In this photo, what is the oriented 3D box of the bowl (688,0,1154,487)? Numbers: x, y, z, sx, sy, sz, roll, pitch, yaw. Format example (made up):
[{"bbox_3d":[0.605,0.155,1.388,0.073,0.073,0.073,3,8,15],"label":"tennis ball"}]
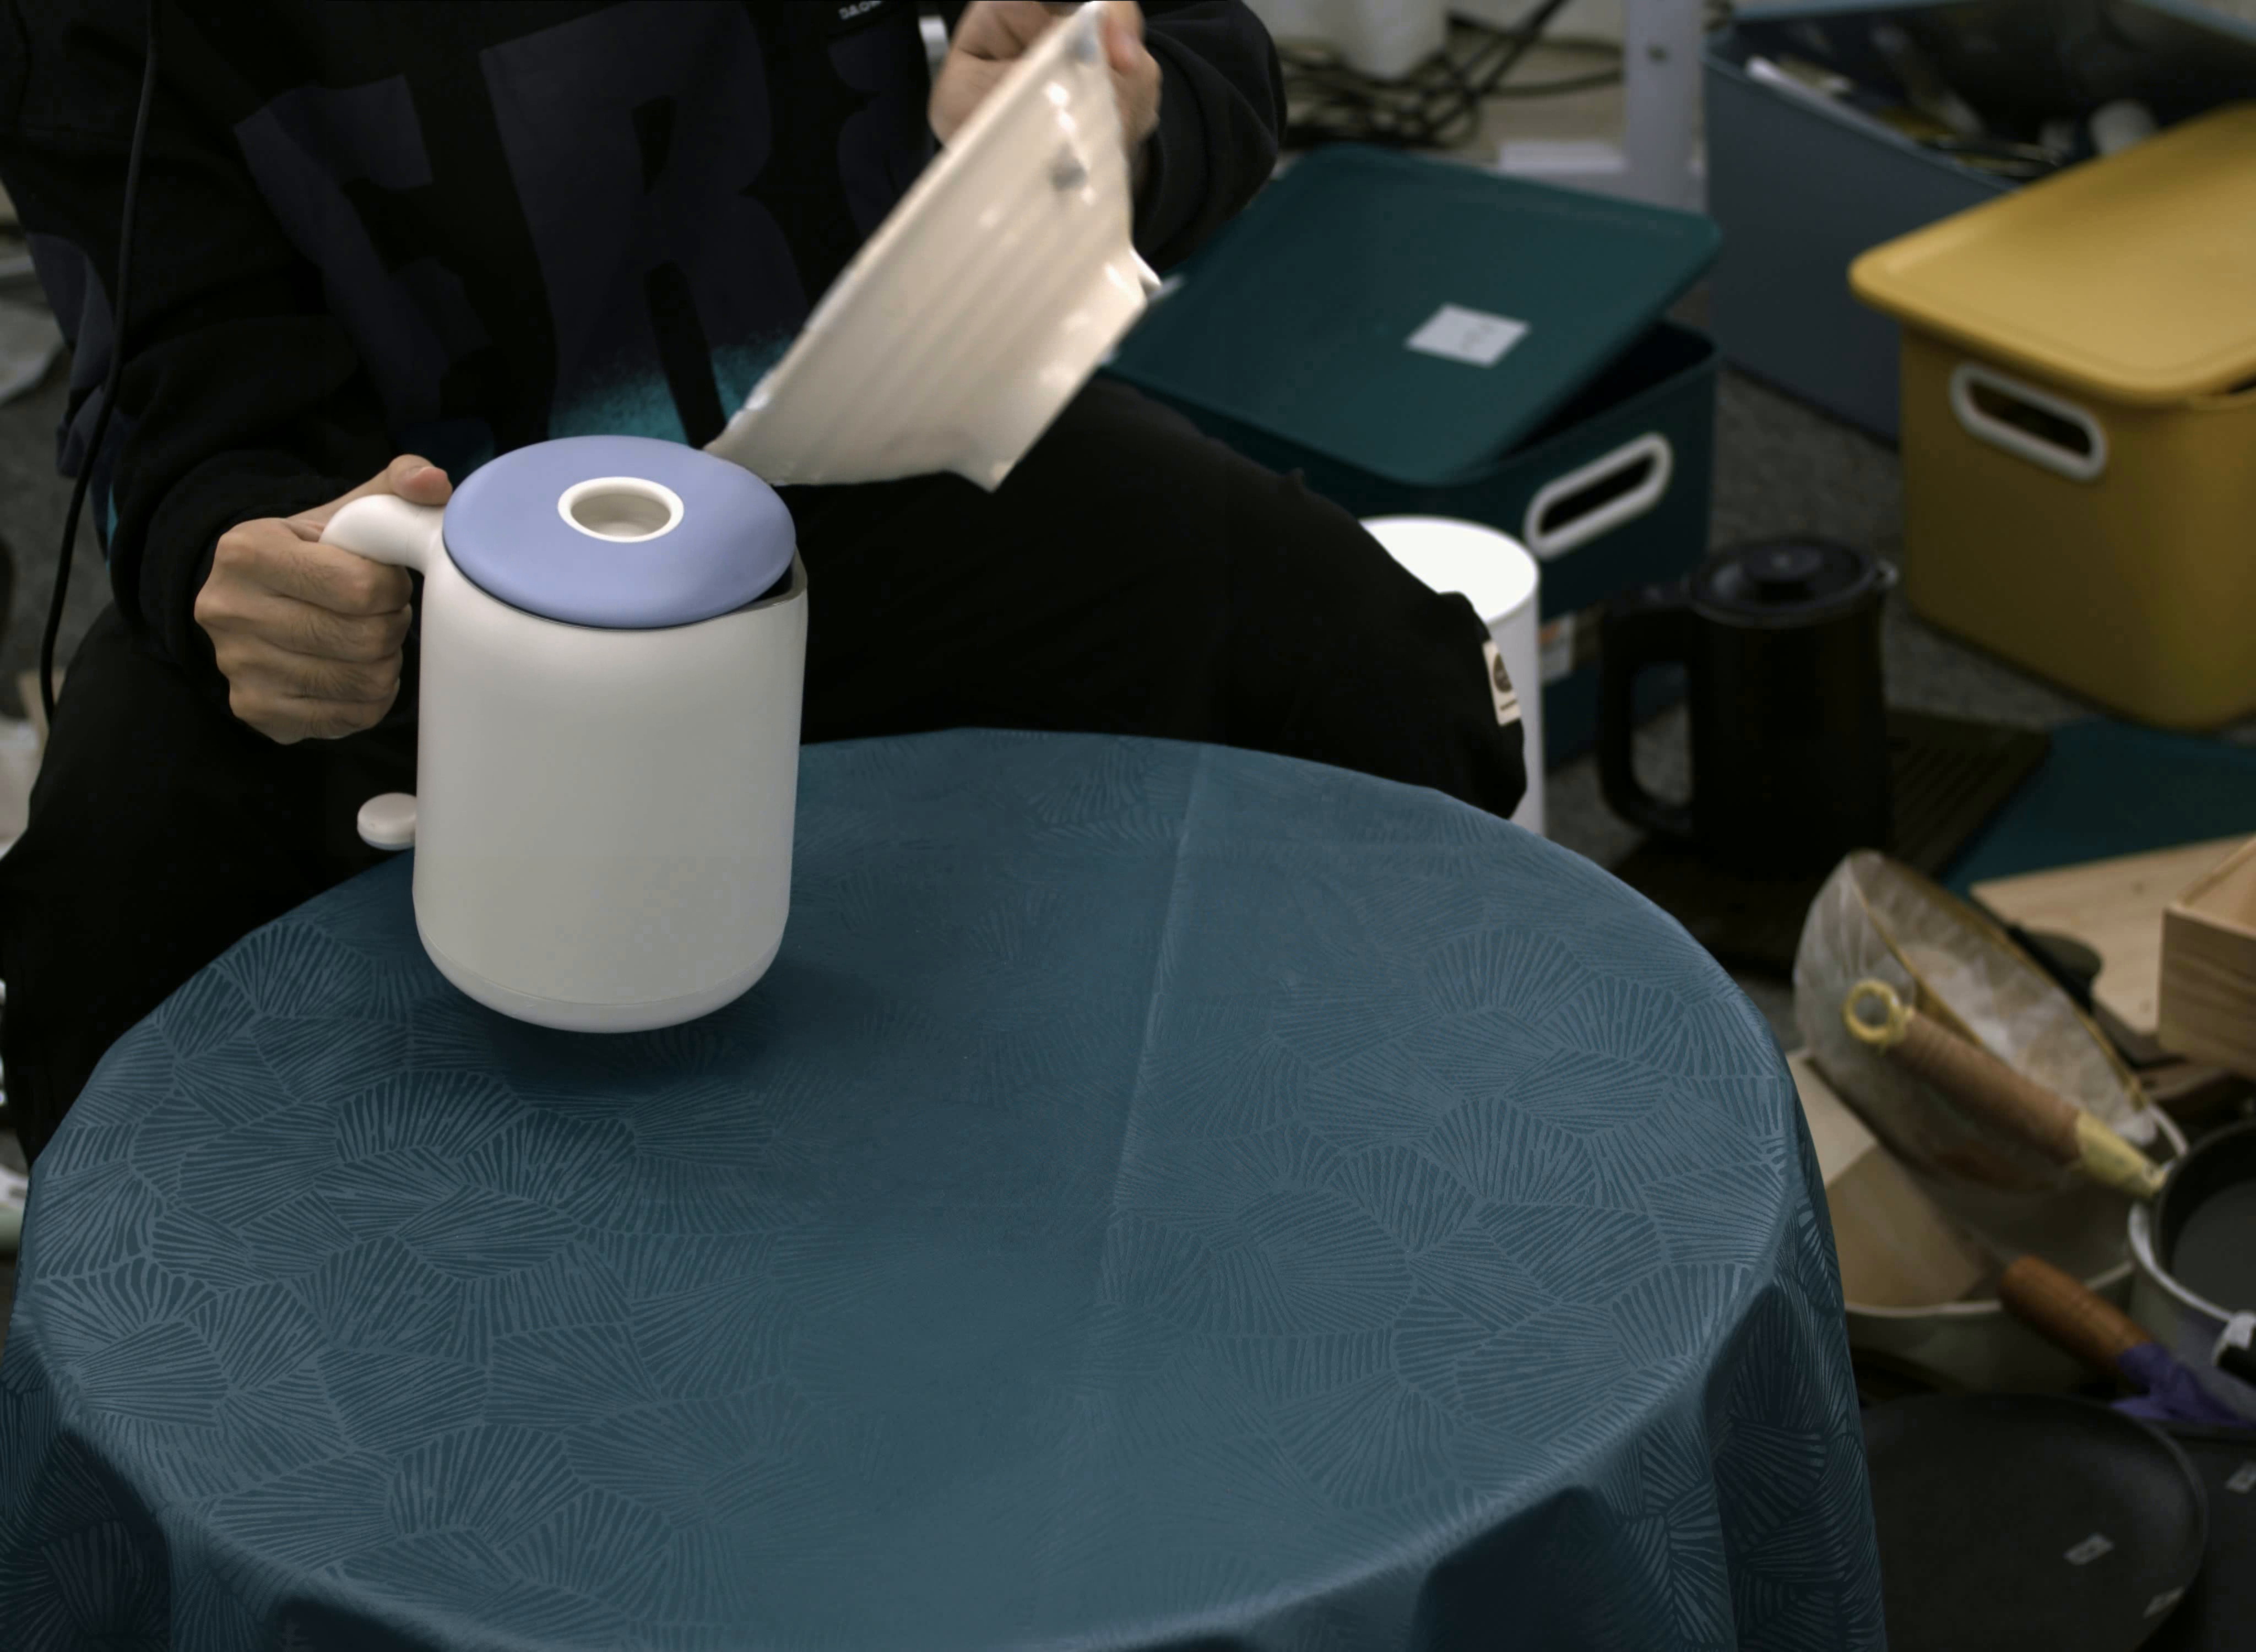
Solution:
[{"bbox_3d":[-0.048,-0.167,1.805,0.078,0.200,0.207,38,35,1],"label":"bowl"}]

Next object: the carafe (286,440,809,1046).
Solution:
[{"bbox_3d":[-0.200,-0.033,1.927,0.190,0.180,0.134,11,30,14],"label":"carafe"}]
